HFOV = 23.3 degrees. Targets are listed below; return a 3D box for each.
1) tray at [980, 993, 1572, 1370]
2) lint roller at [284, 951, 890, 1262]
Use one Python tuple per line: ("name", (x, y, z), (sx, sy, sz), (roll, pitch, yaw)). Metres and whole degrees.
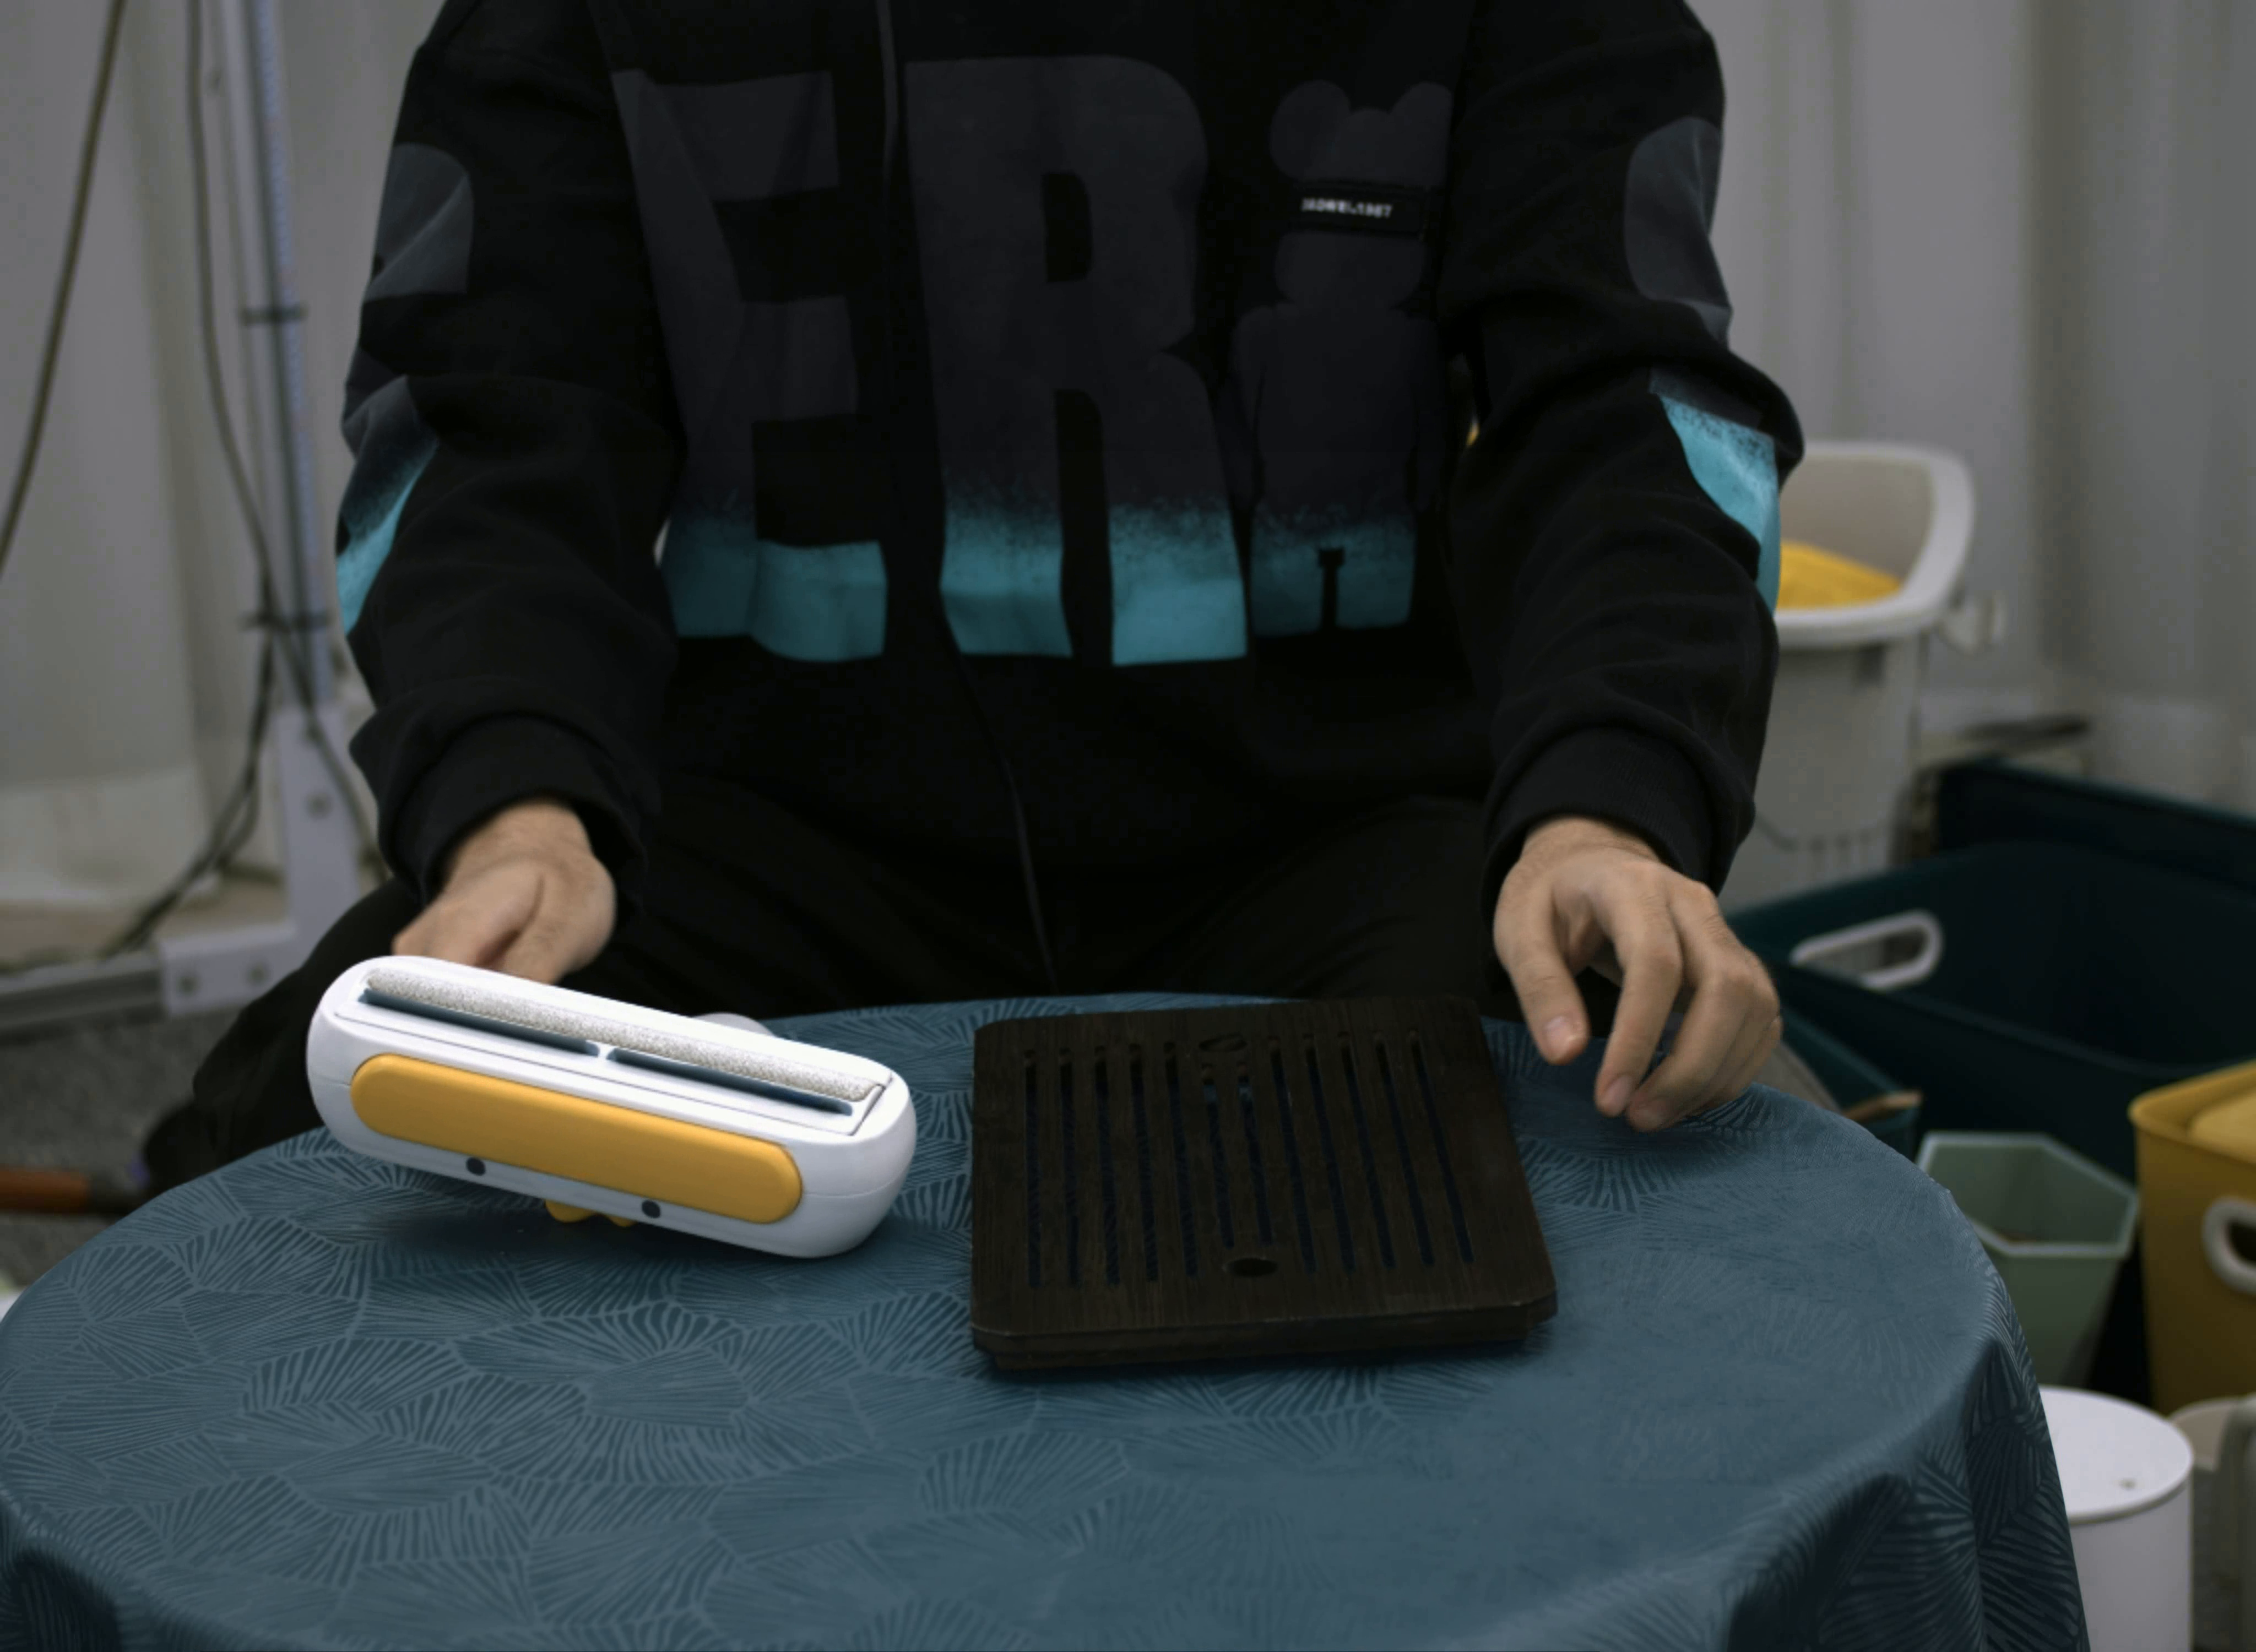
("tray", (0.039, 0.108, 1.697), (0.169, 0.018, 0.308), (-3, 15, 0))
("lint roller", (-0.151, 0.079, 1.749), (0.193, 0.074, 0.193), (9, 16, 16))
